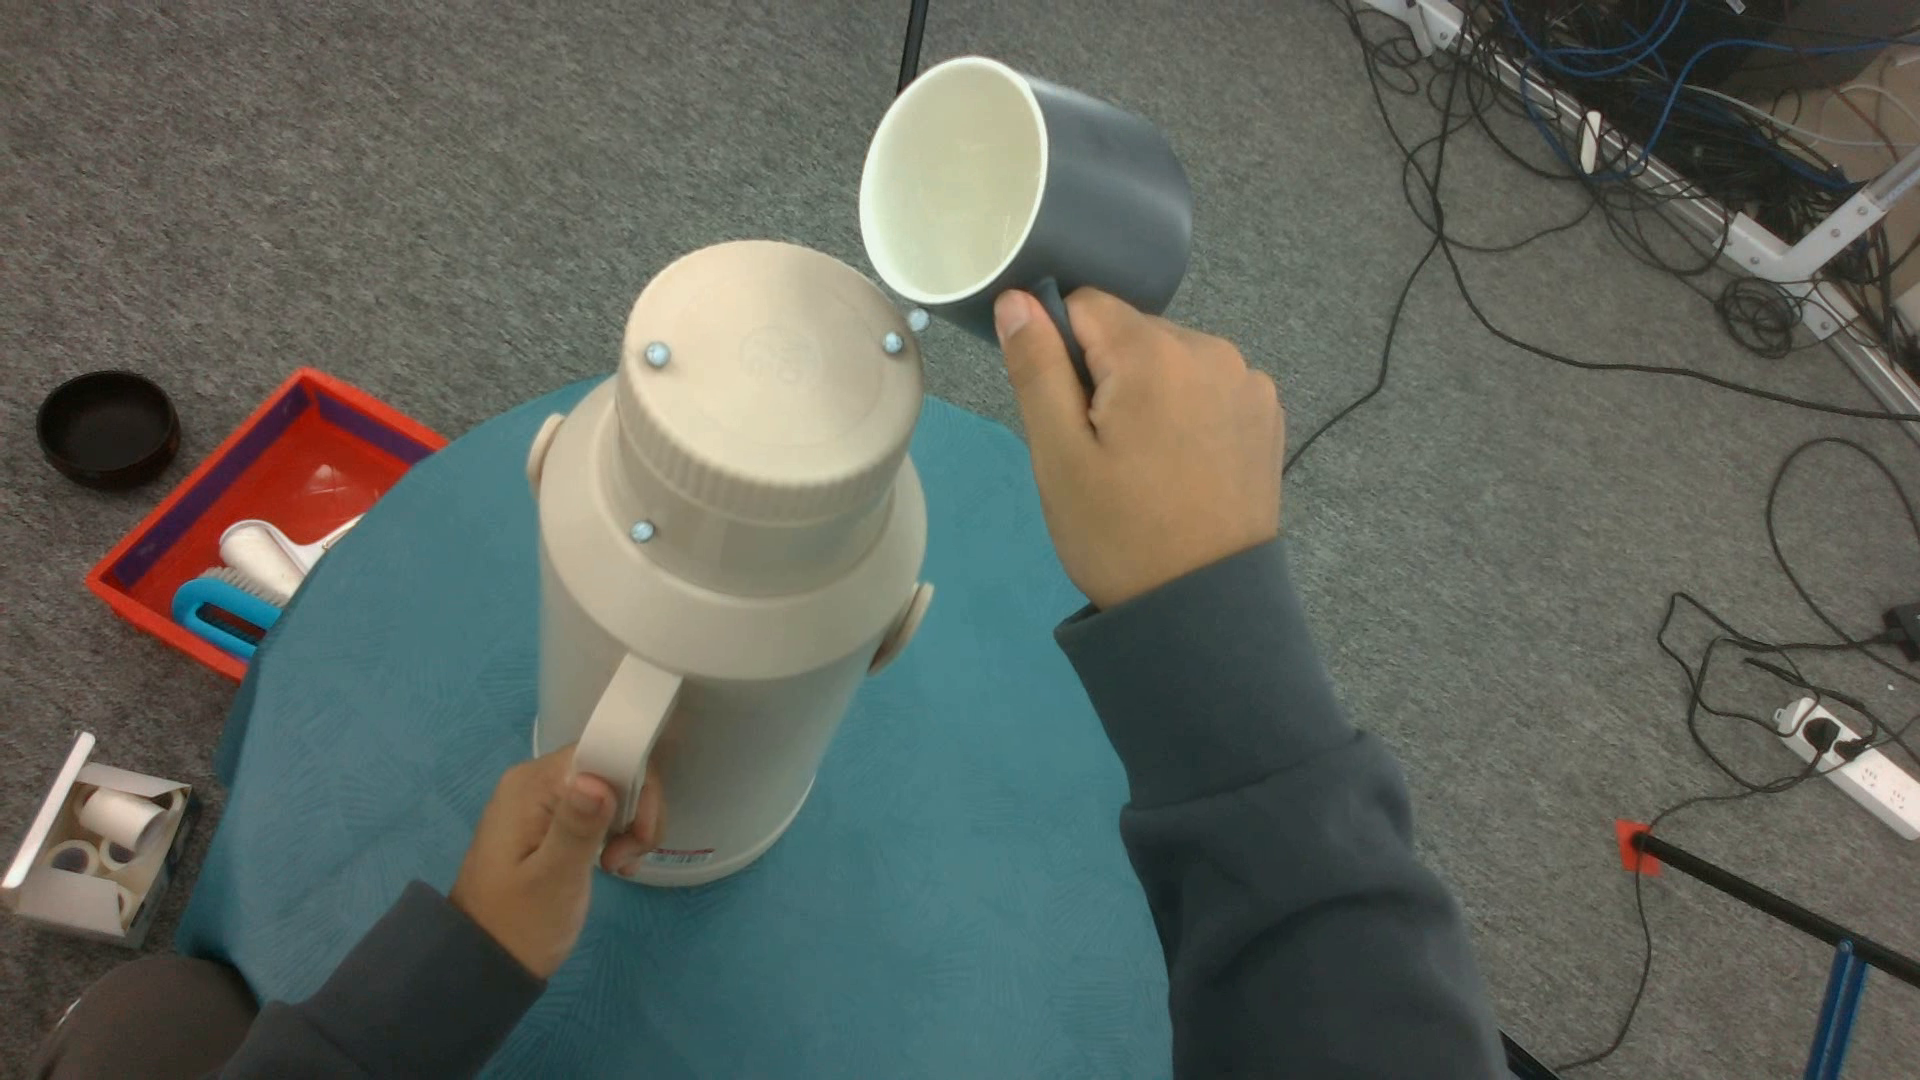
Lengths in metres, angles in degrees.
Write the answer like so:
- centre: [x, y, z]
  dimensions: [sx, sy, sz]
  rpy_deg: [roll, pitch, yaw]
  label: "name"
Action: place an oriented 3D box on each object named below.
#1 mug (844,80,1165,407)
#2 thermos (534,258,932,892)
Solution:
- centre: [0.023, -0.099, 0.490]
  dimensions: [0.090, 0.093, 0.123]
  rpy_deg: [5, 52, -52]
  label: "mug"
- centre: [-0.119, 0.048, 0.649]
  dimensions: [0.175, 0.404, 0.208]
  rpy_deg: [22, 57, -3]
  label: "thermos"
